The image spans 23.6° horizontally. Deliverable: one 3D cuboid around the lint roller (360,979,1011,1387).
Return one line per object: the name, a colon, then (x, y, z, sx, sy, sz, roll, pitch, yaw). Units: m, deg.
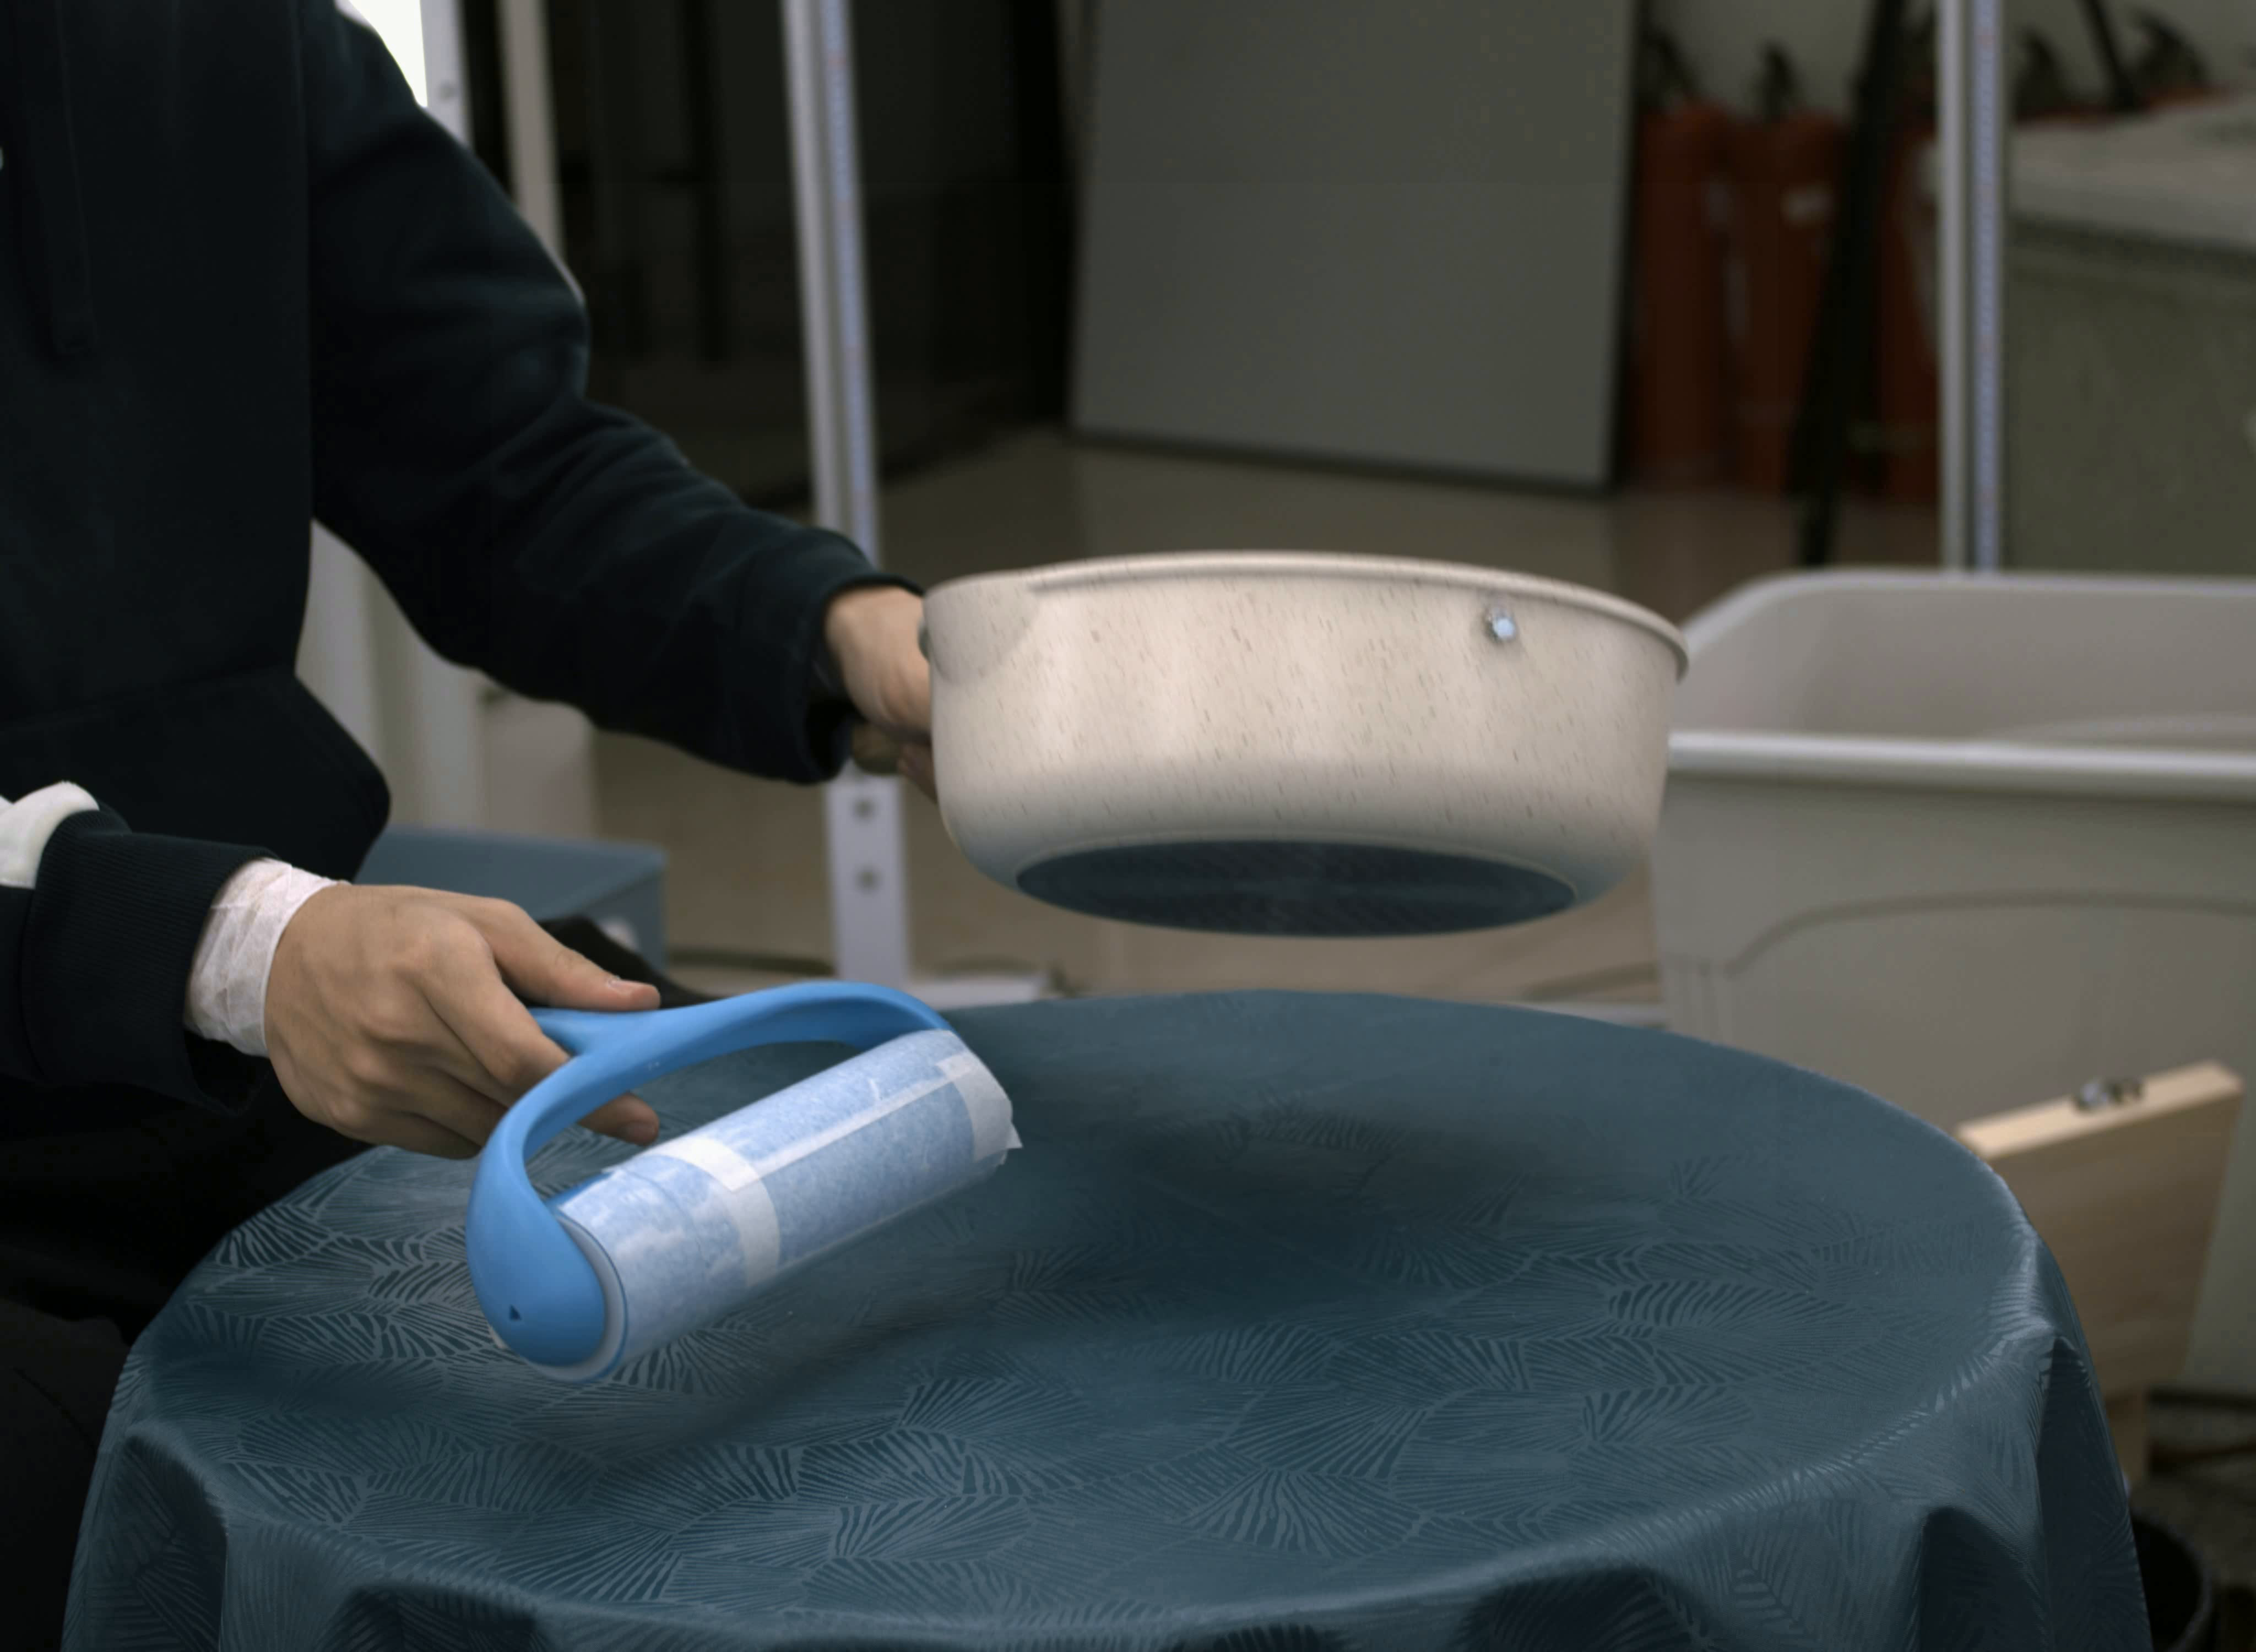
lint roller: (-0.158, 0.088, 1.625, 0.181, 0.068, 0.225, 22, 27, 25)

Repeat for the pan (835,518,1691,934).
pan: (0.011, -0.016, 1.813, 0.257, 0.103, 0.439, 8, -14, -28)
